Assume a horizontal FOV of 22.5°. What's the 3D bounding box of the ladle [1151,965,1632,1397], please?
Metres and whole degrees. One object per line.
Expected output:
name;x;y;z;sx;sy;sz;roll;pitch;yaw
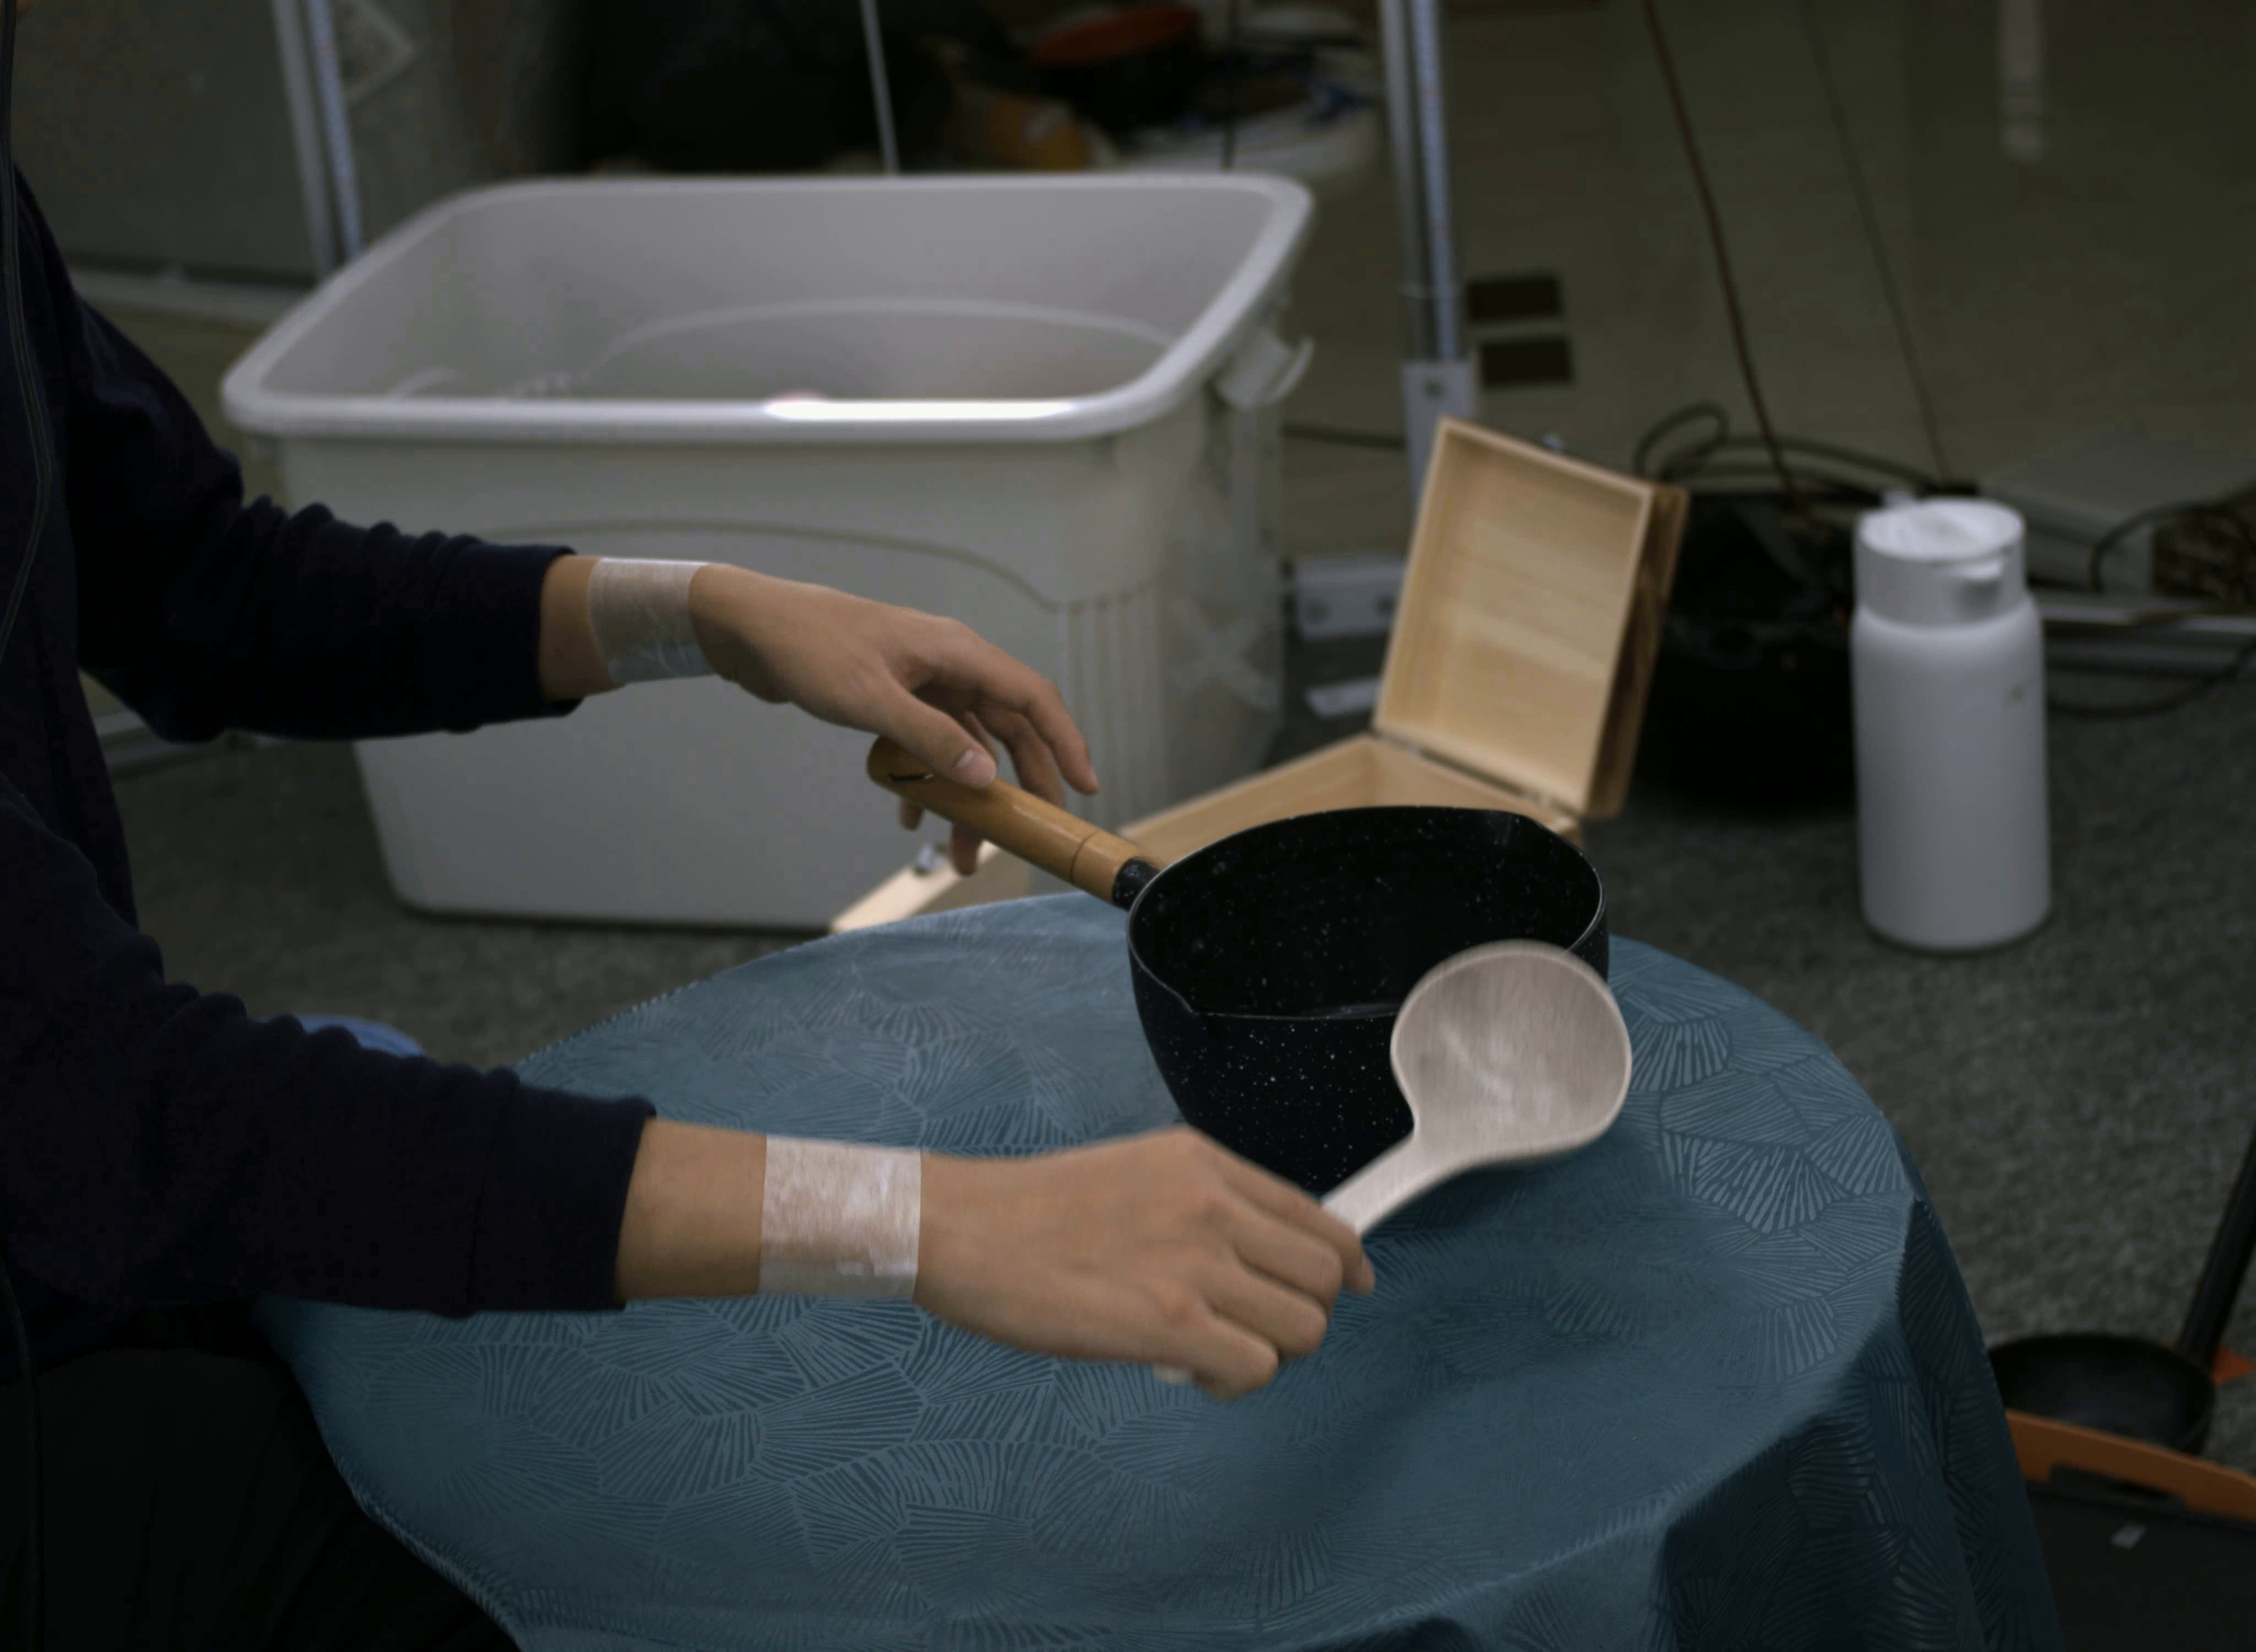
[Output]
ladle;0.084;0.117;1.925;0.089;0.070;0.272;26;26;20

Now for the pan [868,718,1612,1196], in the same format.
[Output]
pan;0.032;0.043;2.215;0.340;0.110;0.205;15;34;36
